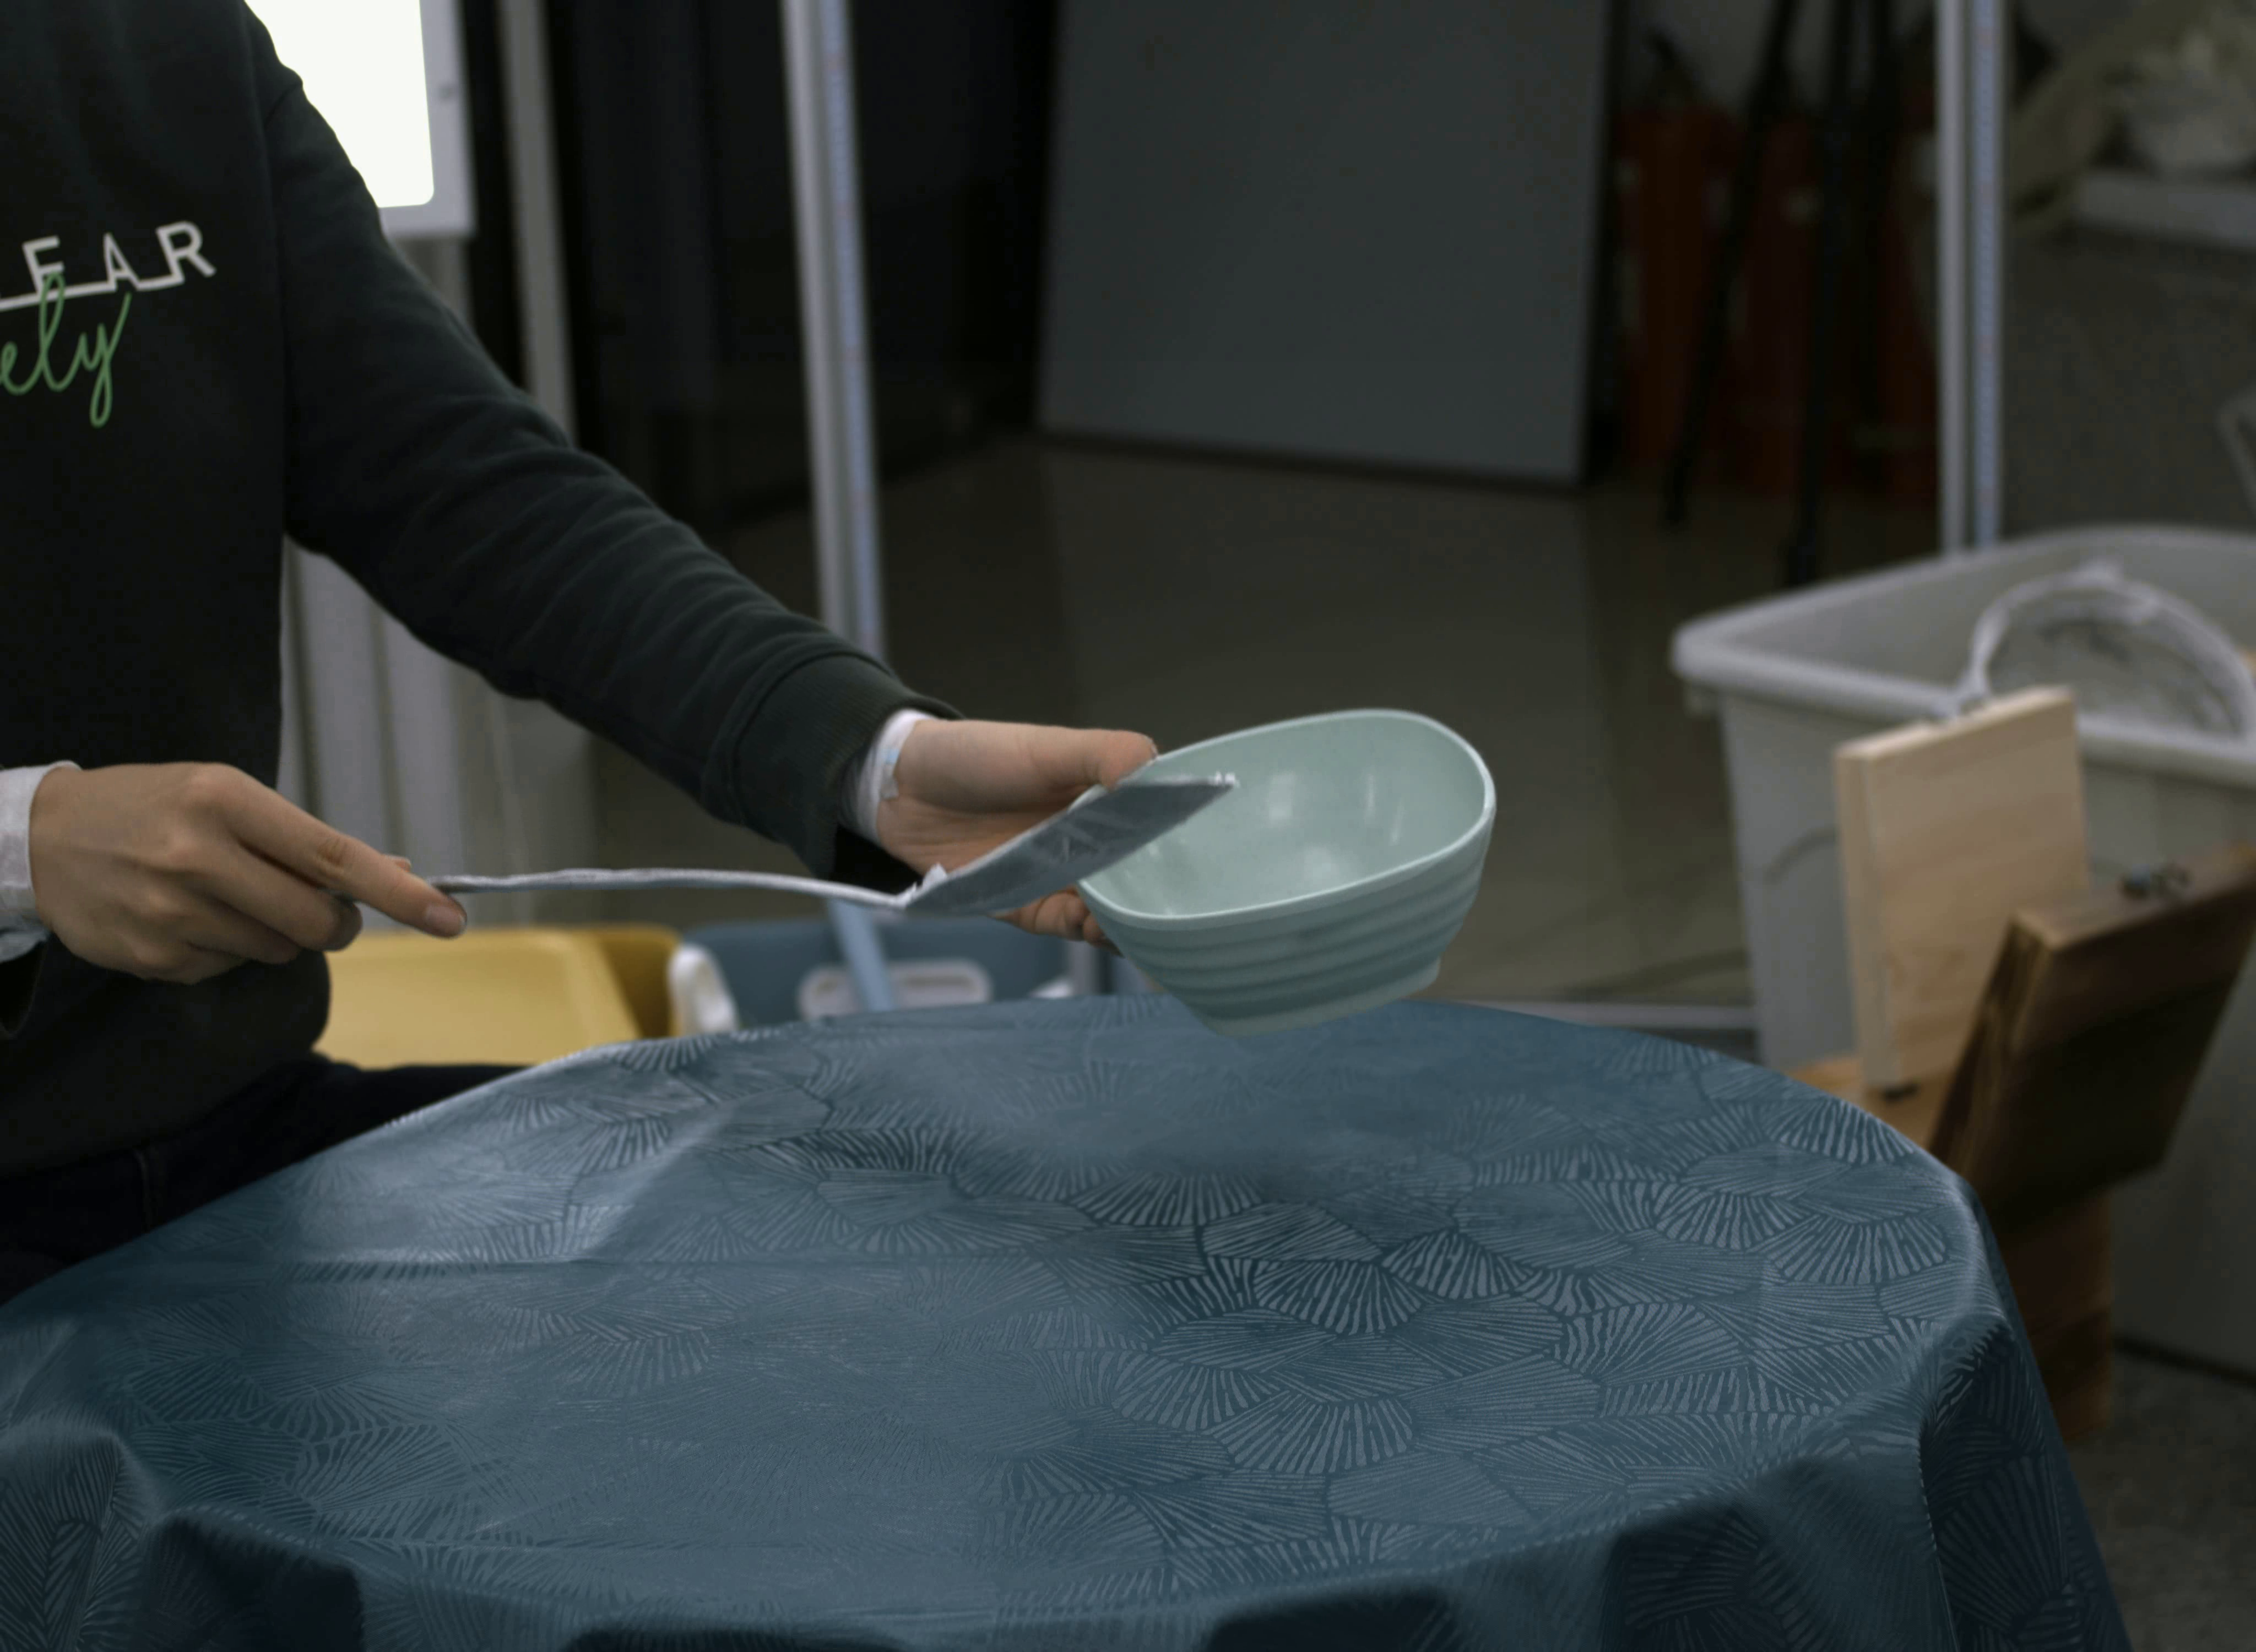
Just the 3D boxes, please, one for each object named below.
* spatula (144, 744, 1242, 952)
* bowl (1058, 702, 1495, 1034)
[{"bbox_3d":[-0.141,0.008,1.625,0.364,0.045,0.097,-3,-1,20],"label":"spatula"},{"bbox_3d":[0.051,0.019,1.723,0.150,0.059,0.152,-10,25,3],"label":"bowl"}]
